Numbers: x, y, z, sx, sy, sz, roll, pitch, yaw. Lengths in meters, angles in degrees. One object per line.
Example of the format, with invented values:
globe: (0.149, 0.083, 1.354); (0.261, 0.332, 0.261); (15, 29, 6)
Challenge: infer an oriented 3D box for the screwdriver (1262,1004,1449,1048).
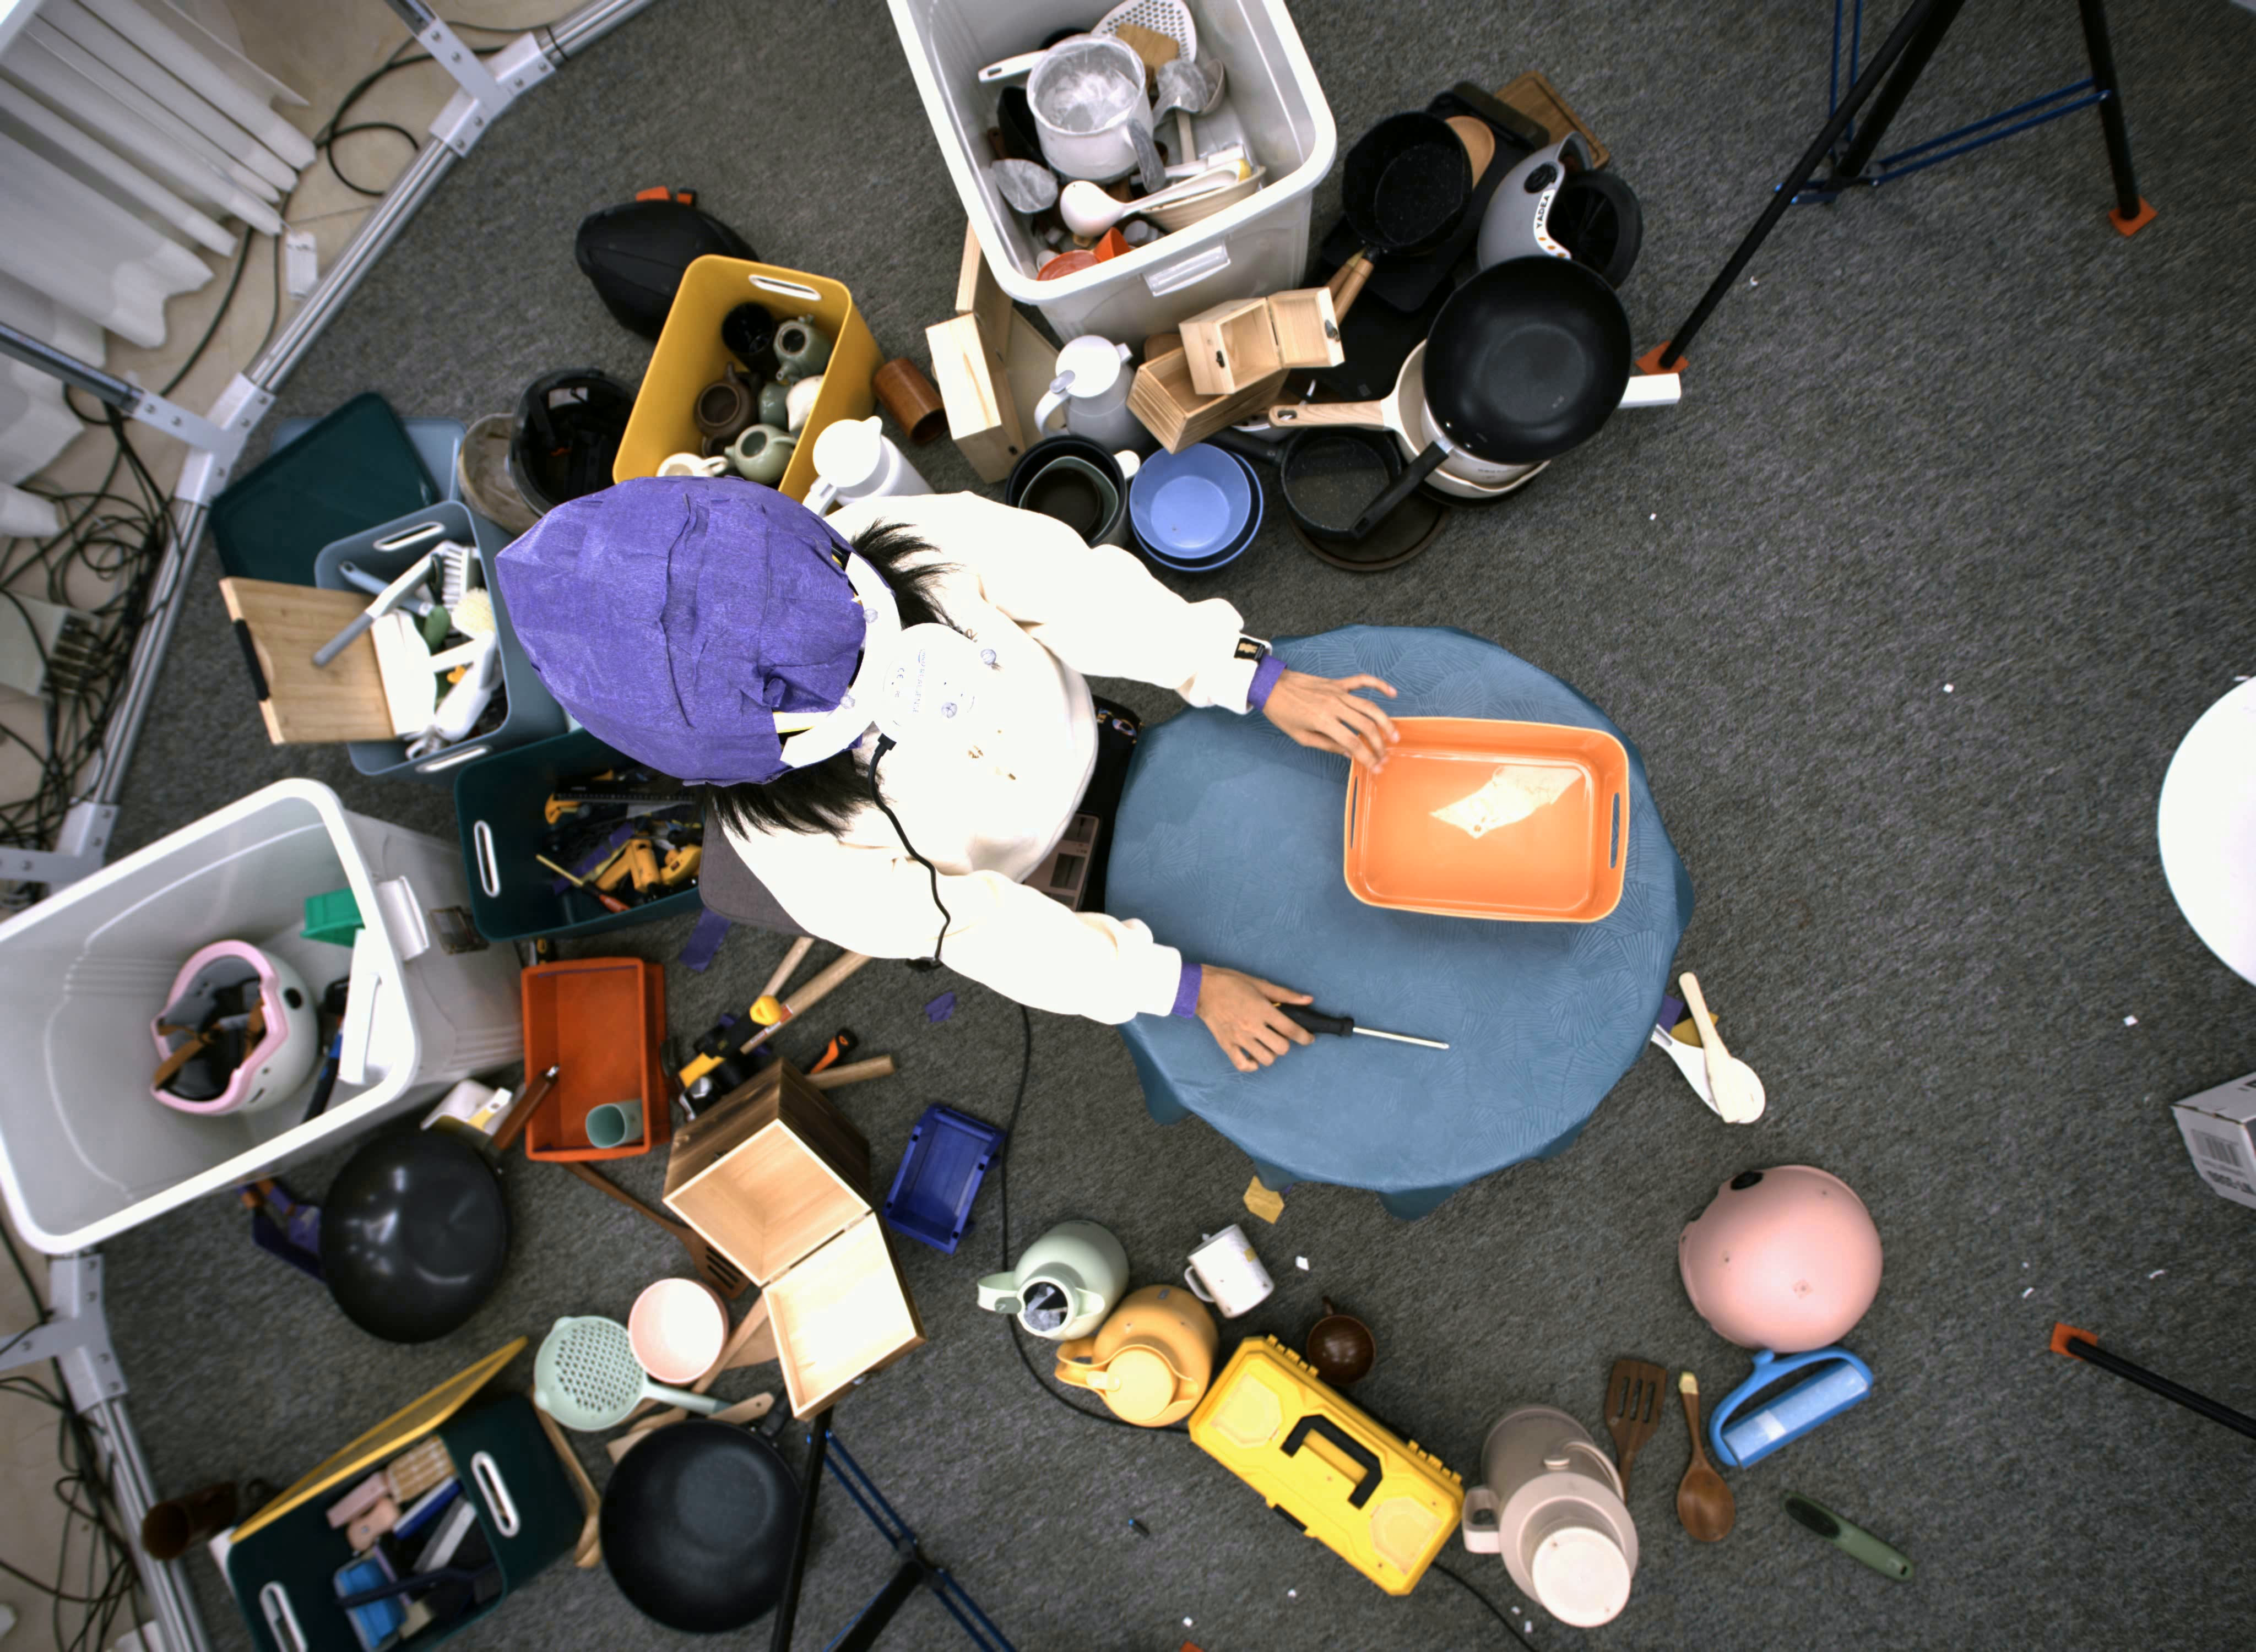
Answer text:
screwdriver: (0.237, 0.215, 1.450); (0.196, 0.031, 0.031); (12, 87, 7)

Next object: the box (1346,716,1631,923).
box: (0.360, -0.006, 1.394); (0.274, 0.102, 0.199); (4, 88, 10)
